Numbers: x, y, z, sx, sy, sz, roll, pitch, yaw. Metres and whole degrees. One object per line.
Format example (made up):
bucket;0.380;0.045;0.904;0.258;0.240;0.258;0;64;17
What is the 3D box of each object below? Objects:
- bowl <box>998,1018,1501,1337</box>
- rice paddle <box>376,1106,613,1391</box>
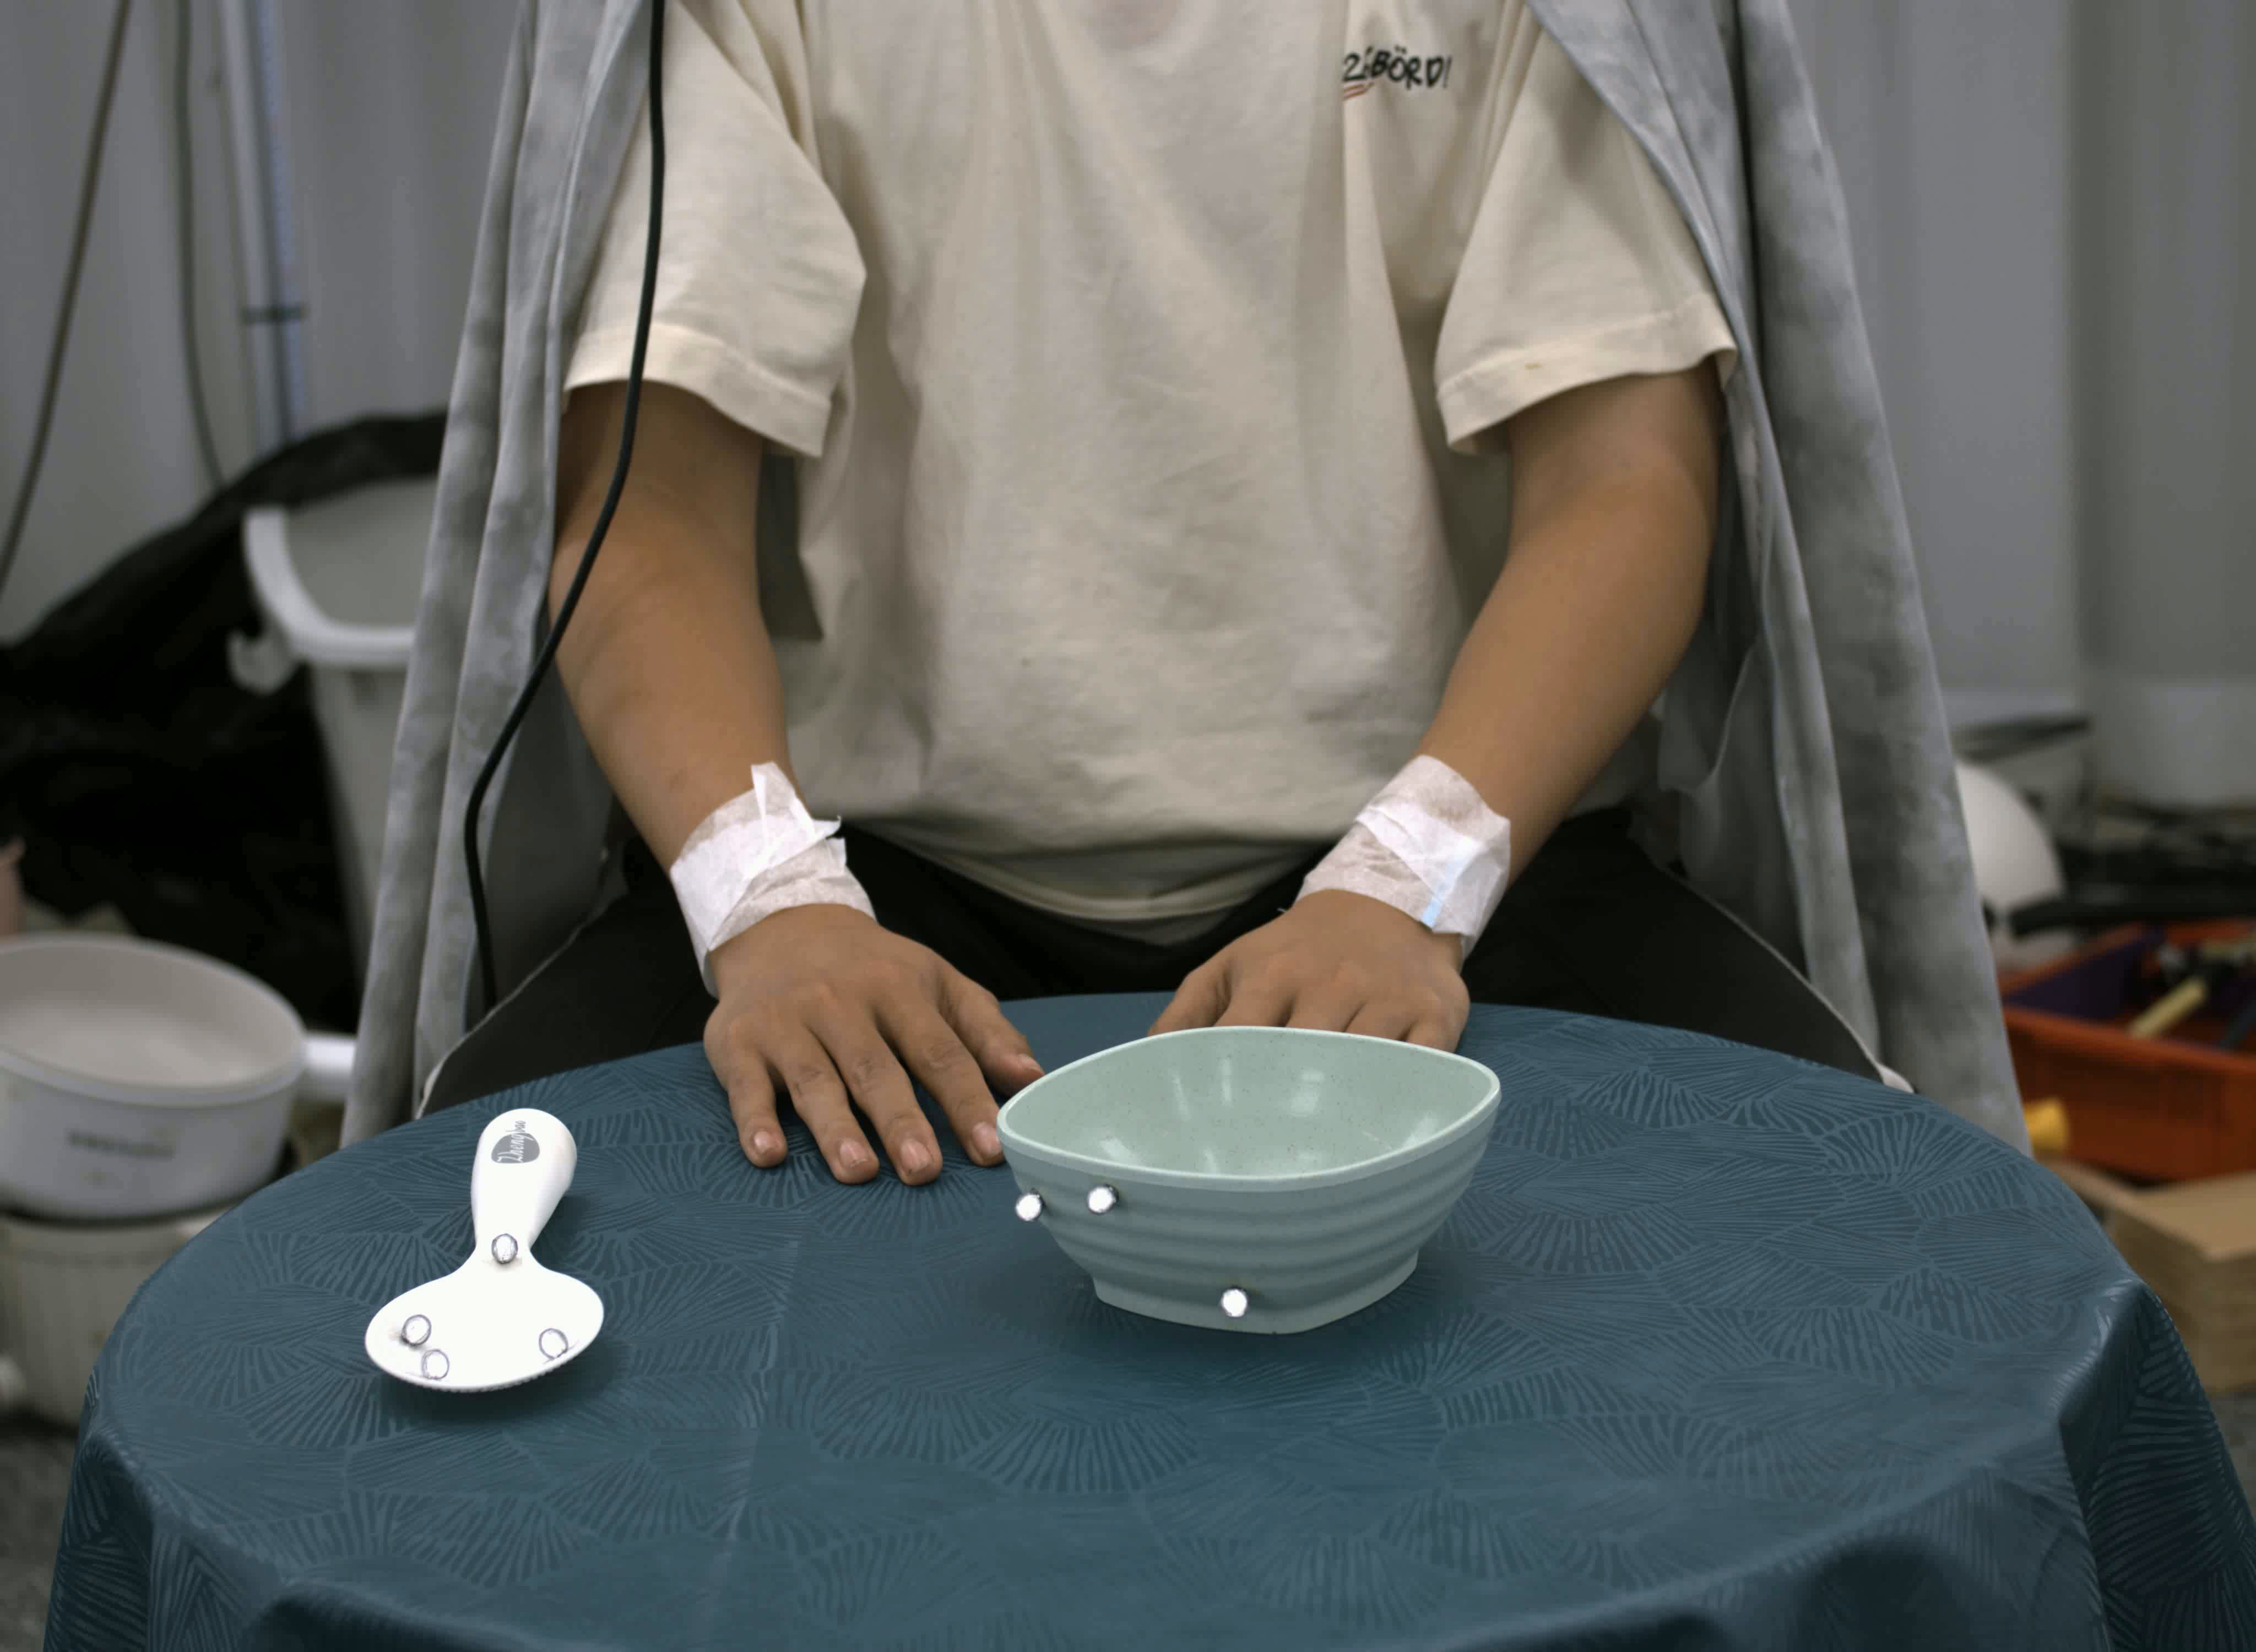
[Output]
bowl;0.038;0.108;1.625;0.151;0.058;0.152;-5;17;1
rice paddle;-0.186;0.129;1.641;0.068;0.029;0.207;-4;15;-1
